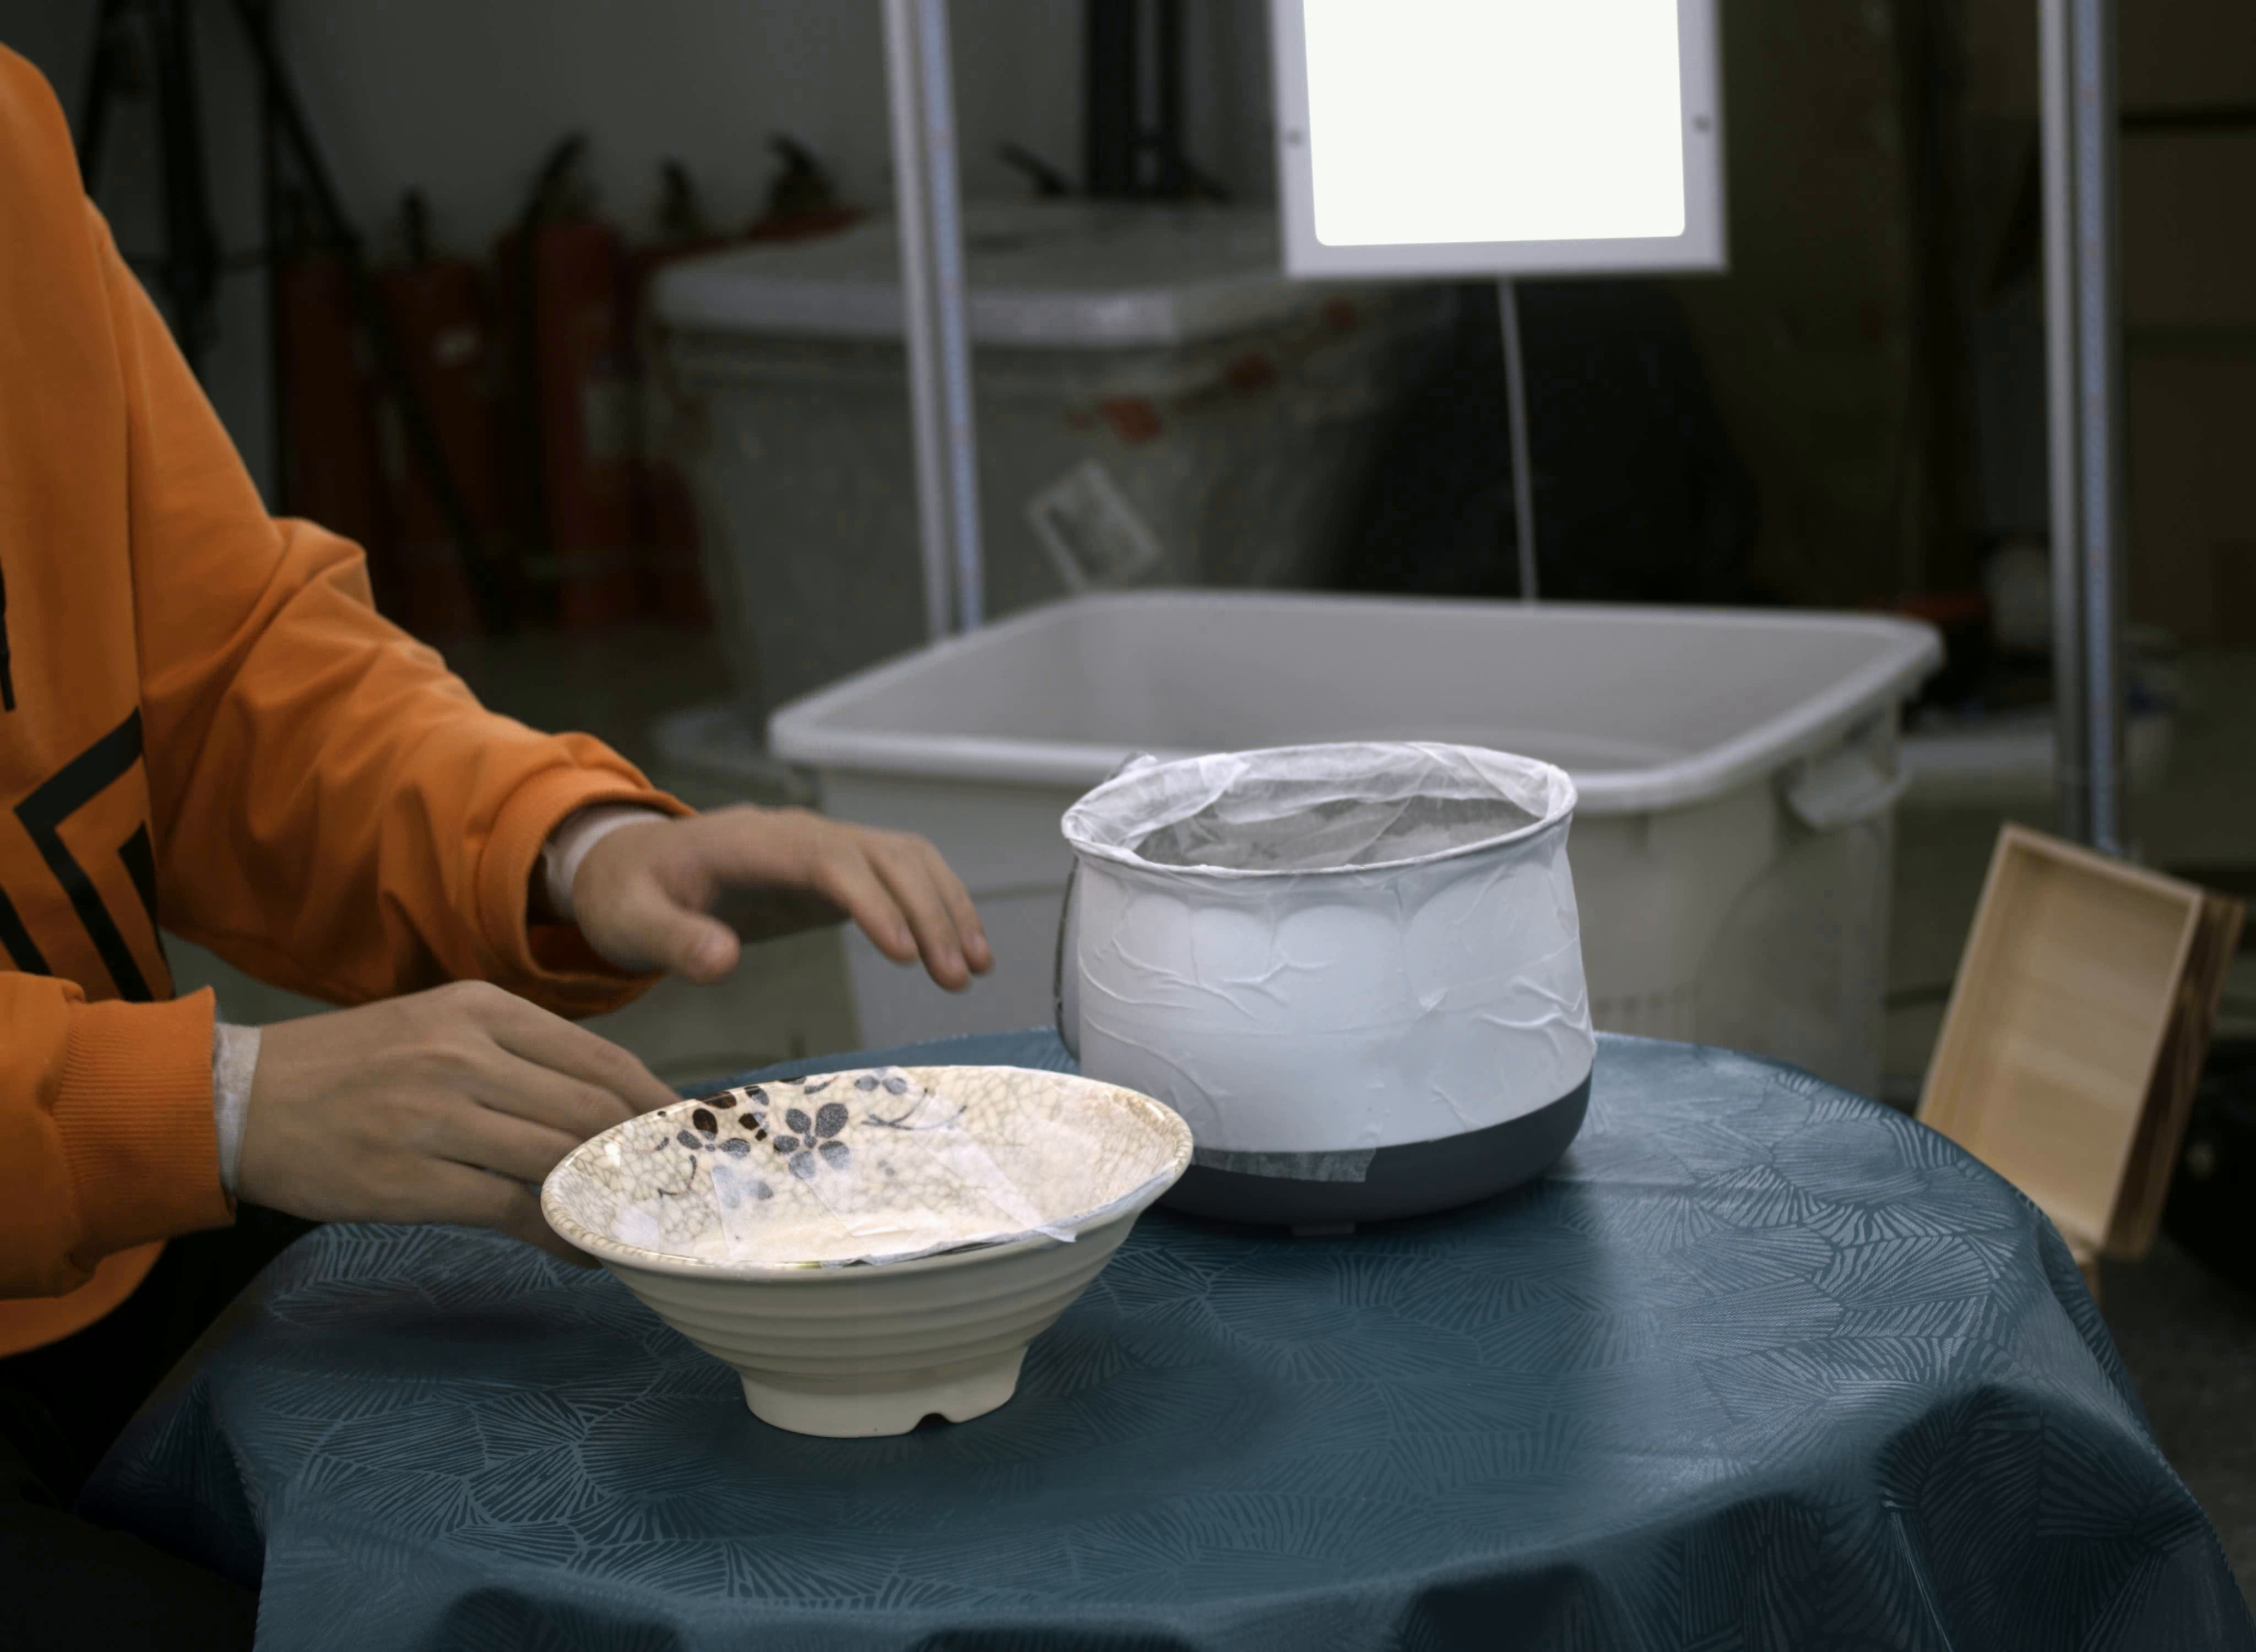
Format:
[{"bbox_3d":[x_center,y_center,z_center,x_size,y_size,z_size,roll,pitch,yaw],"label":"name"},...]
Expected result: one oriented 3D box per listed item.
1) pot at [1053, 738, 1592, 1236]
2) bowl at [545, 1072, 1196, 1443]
[{"bbox_3d":[0.052,0.049,1.903,0.174,0.137,0.238,-14,17,-36],"label":"pot"},{"bbox_3d":[-0.075,0.141,1.712,0.203,0.078,0.204,-7,13,0],"label":"bowl"}]
